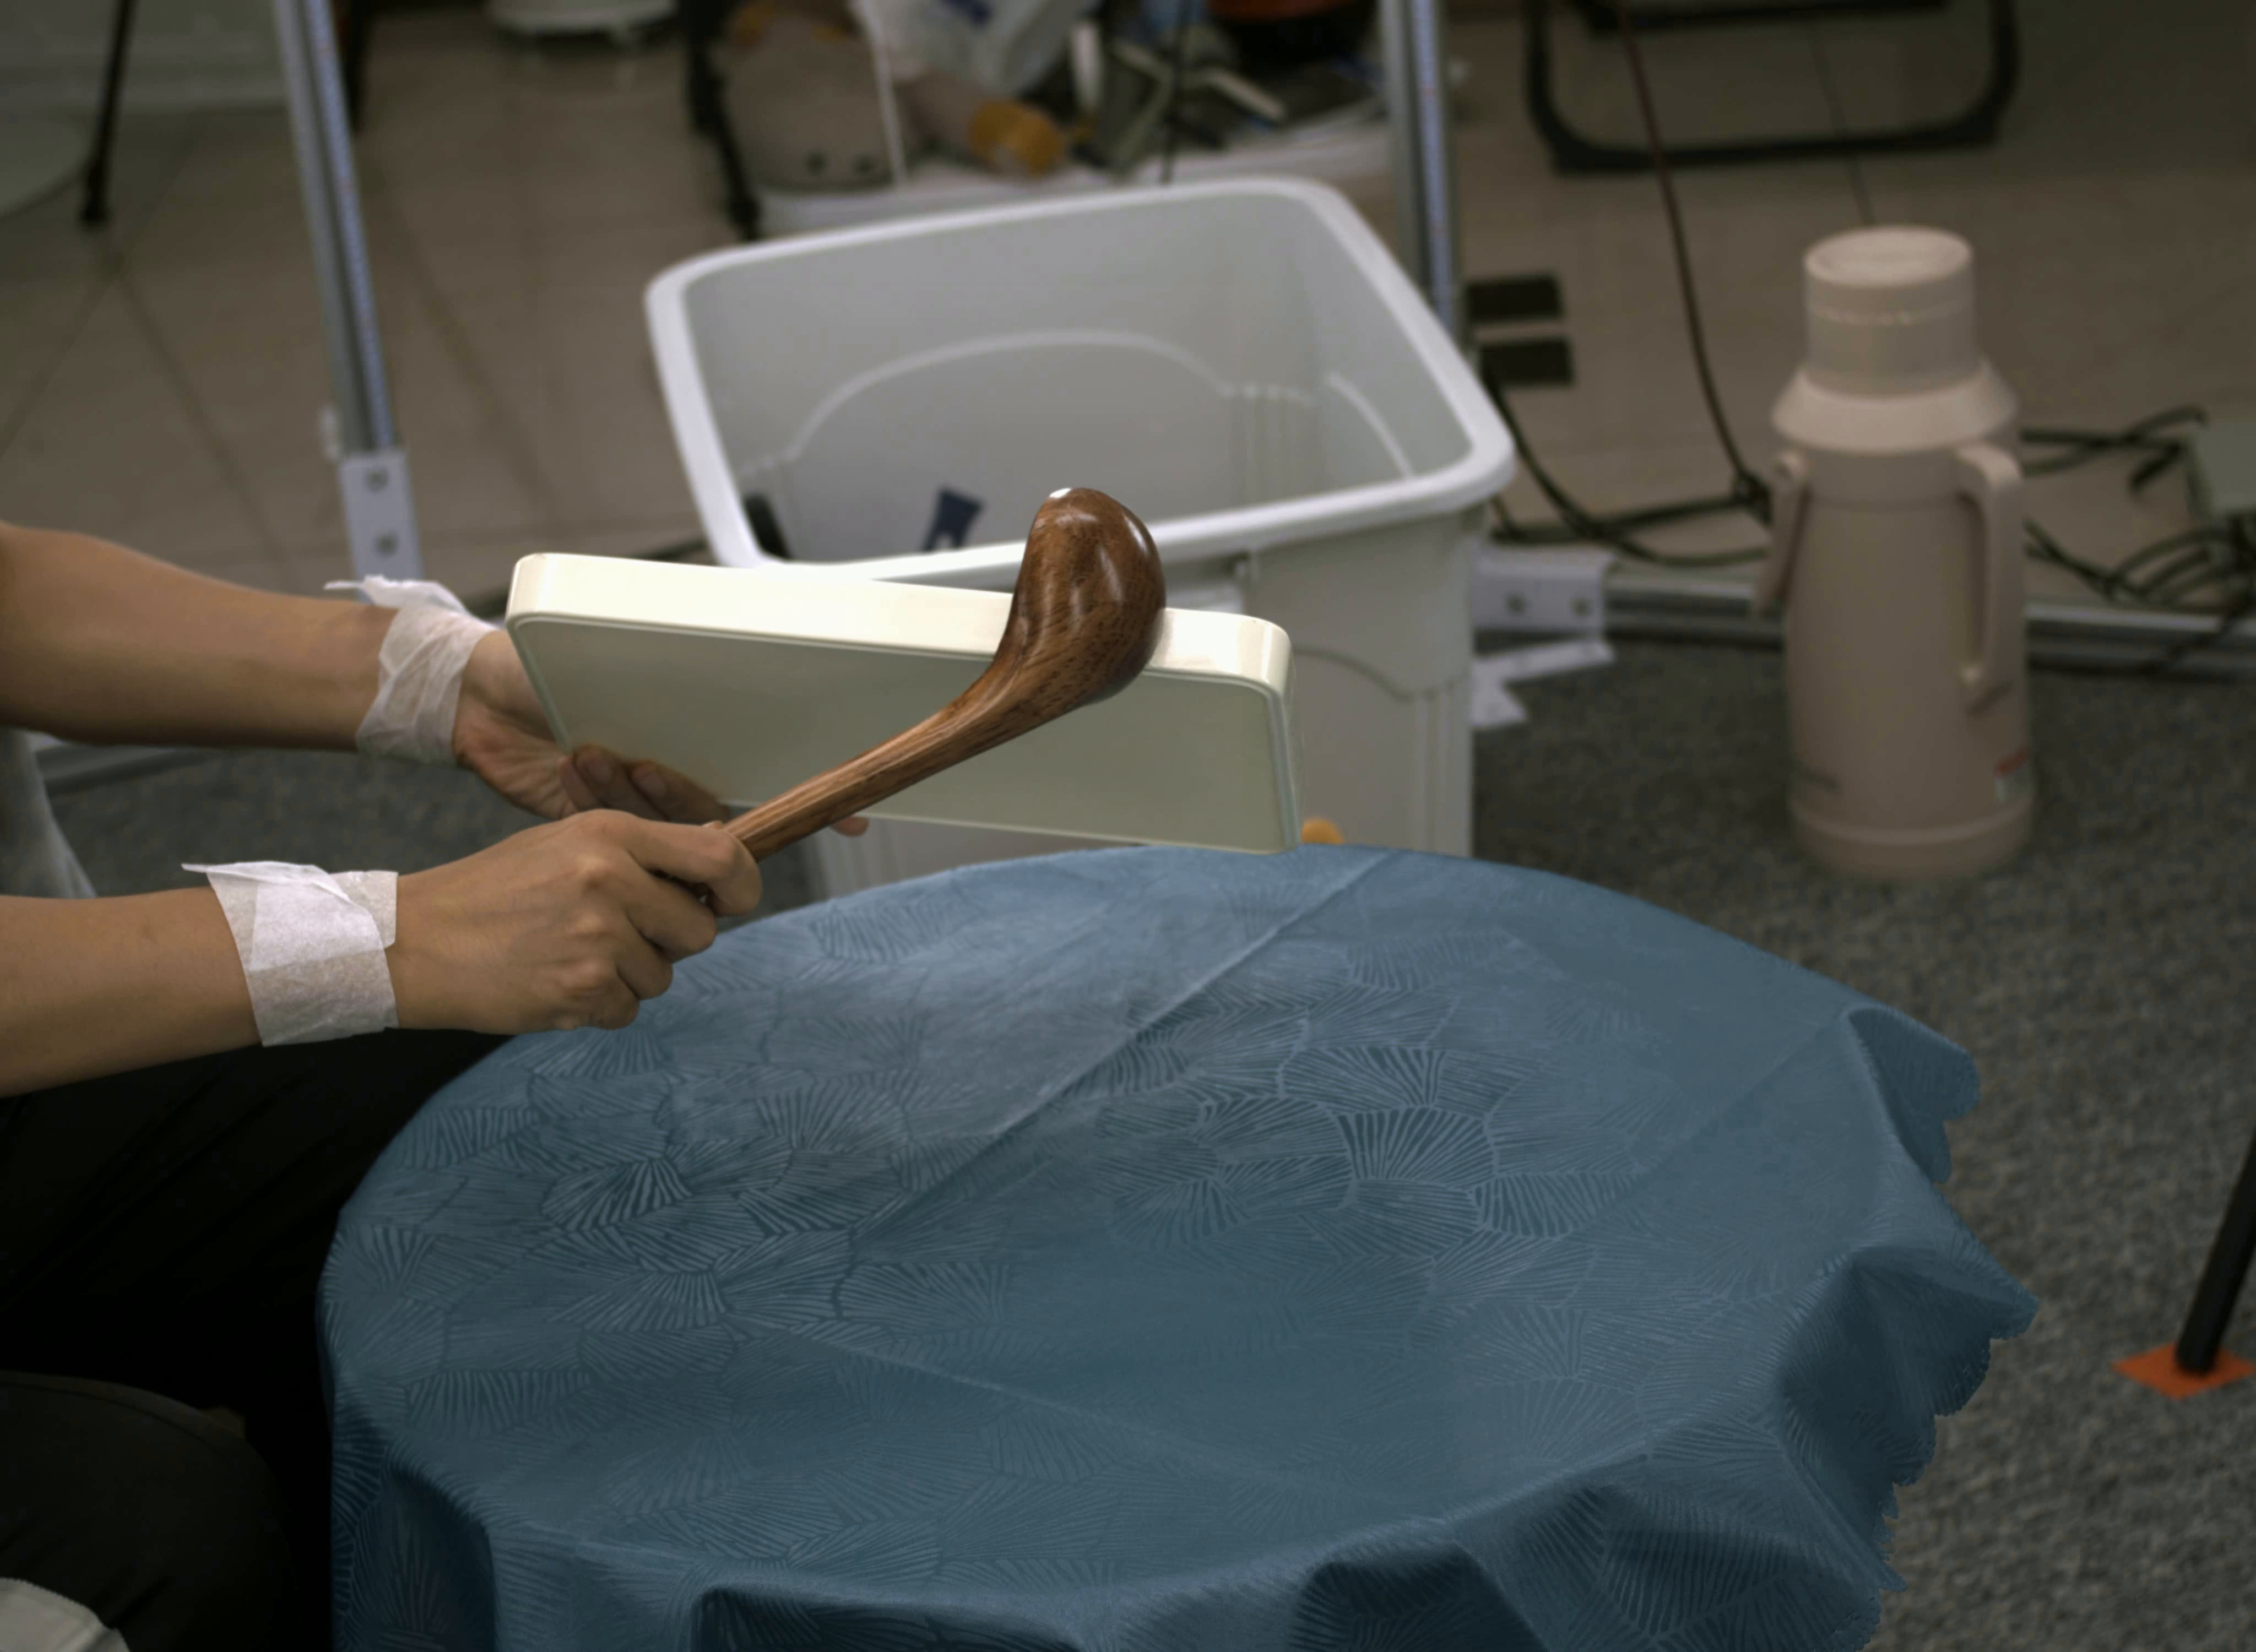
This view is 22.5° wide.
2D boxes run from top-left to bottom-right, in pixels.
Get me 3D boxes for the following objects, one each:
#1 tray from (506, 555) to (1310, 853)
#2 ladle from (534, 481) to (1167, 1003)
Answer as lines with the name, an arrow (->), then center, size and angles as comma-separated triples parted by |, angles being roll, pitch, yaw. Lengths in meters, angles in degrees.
tray -> -0.082, -0.045, 2.208 | 0.299, 0.194, 0.027 | 5, 70, 7
ladle -> -0.106, -0.033, 2.077 | 0.274, 0.083, 0.075 | -30, 39, 4
